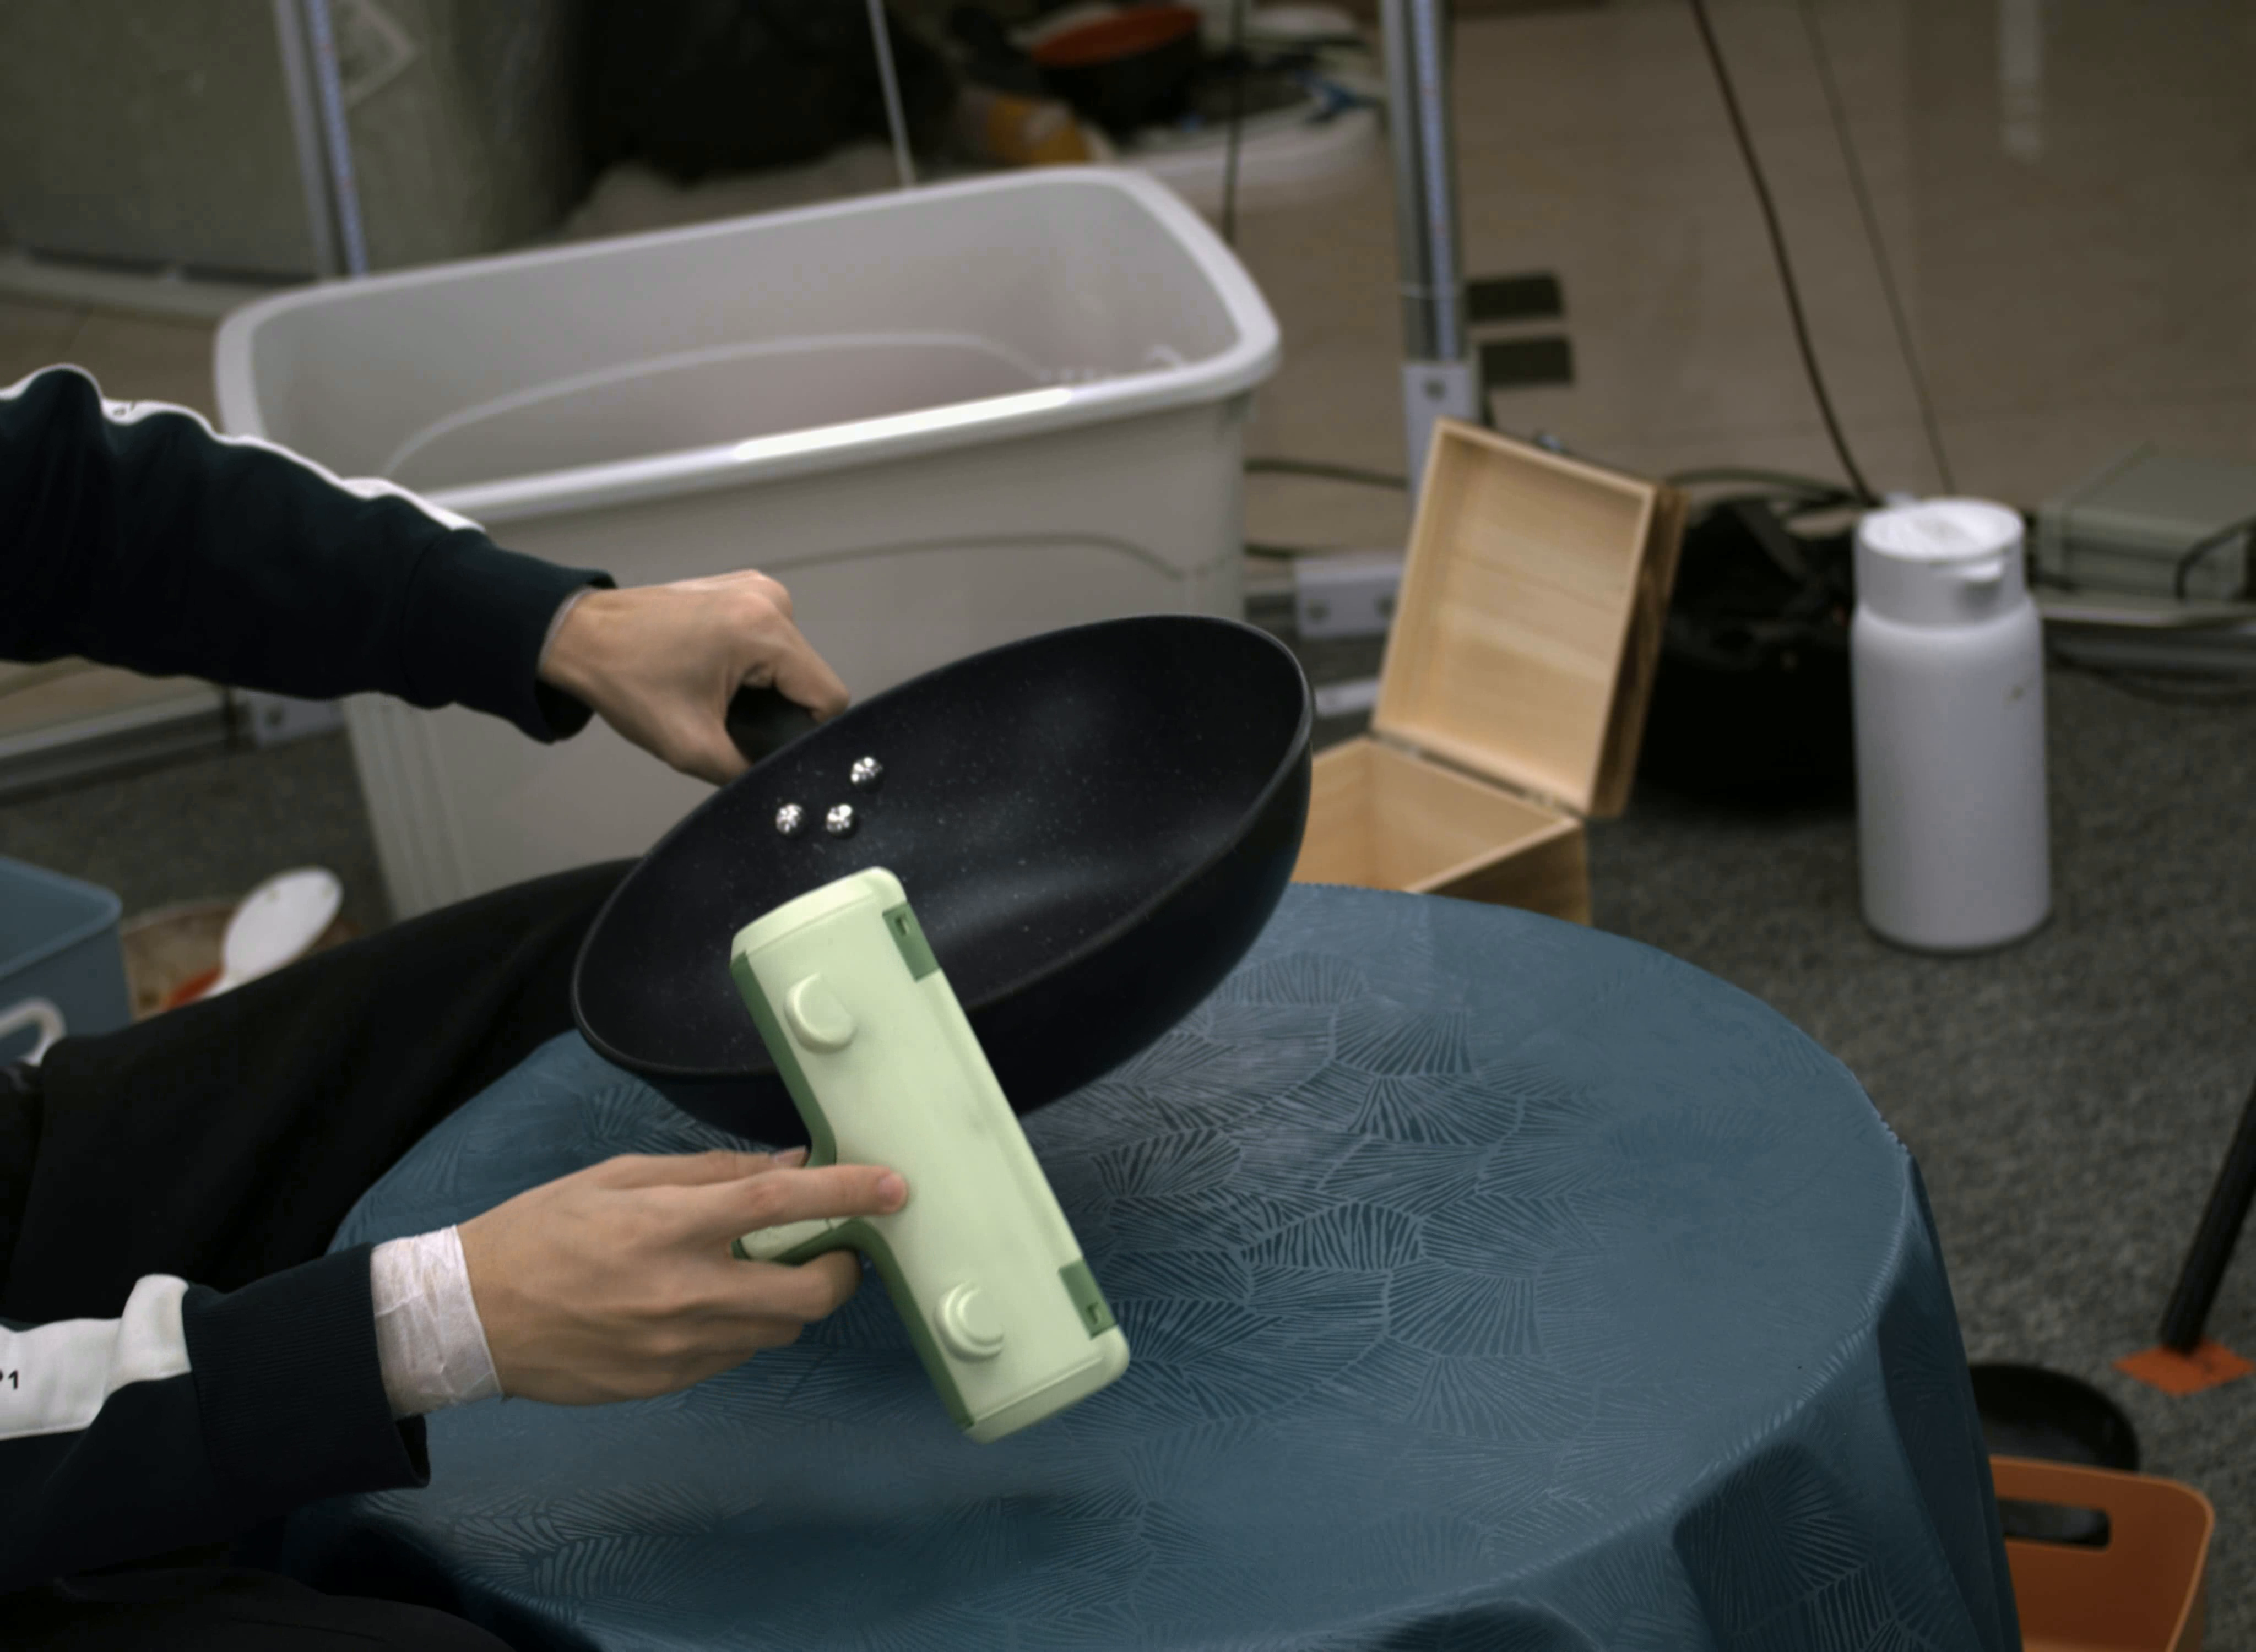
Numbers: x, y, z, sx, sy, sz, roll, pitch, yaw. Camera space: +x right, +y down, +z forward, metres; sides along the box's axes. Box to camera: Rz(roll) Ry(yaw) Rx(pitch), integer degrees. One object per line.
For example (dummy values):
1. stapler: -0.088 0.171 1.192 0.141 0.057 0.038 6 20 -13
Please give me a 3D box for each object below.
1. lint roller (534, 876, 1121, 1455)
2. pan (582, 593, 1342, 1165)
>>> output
1. lint roller: -0.123 0.141 1.931 0.183 0.198 0.082 -26 -3 0
2. pan: -0.090 0.011 2.227 0.308 0.113 0.472 -31 26 -14
